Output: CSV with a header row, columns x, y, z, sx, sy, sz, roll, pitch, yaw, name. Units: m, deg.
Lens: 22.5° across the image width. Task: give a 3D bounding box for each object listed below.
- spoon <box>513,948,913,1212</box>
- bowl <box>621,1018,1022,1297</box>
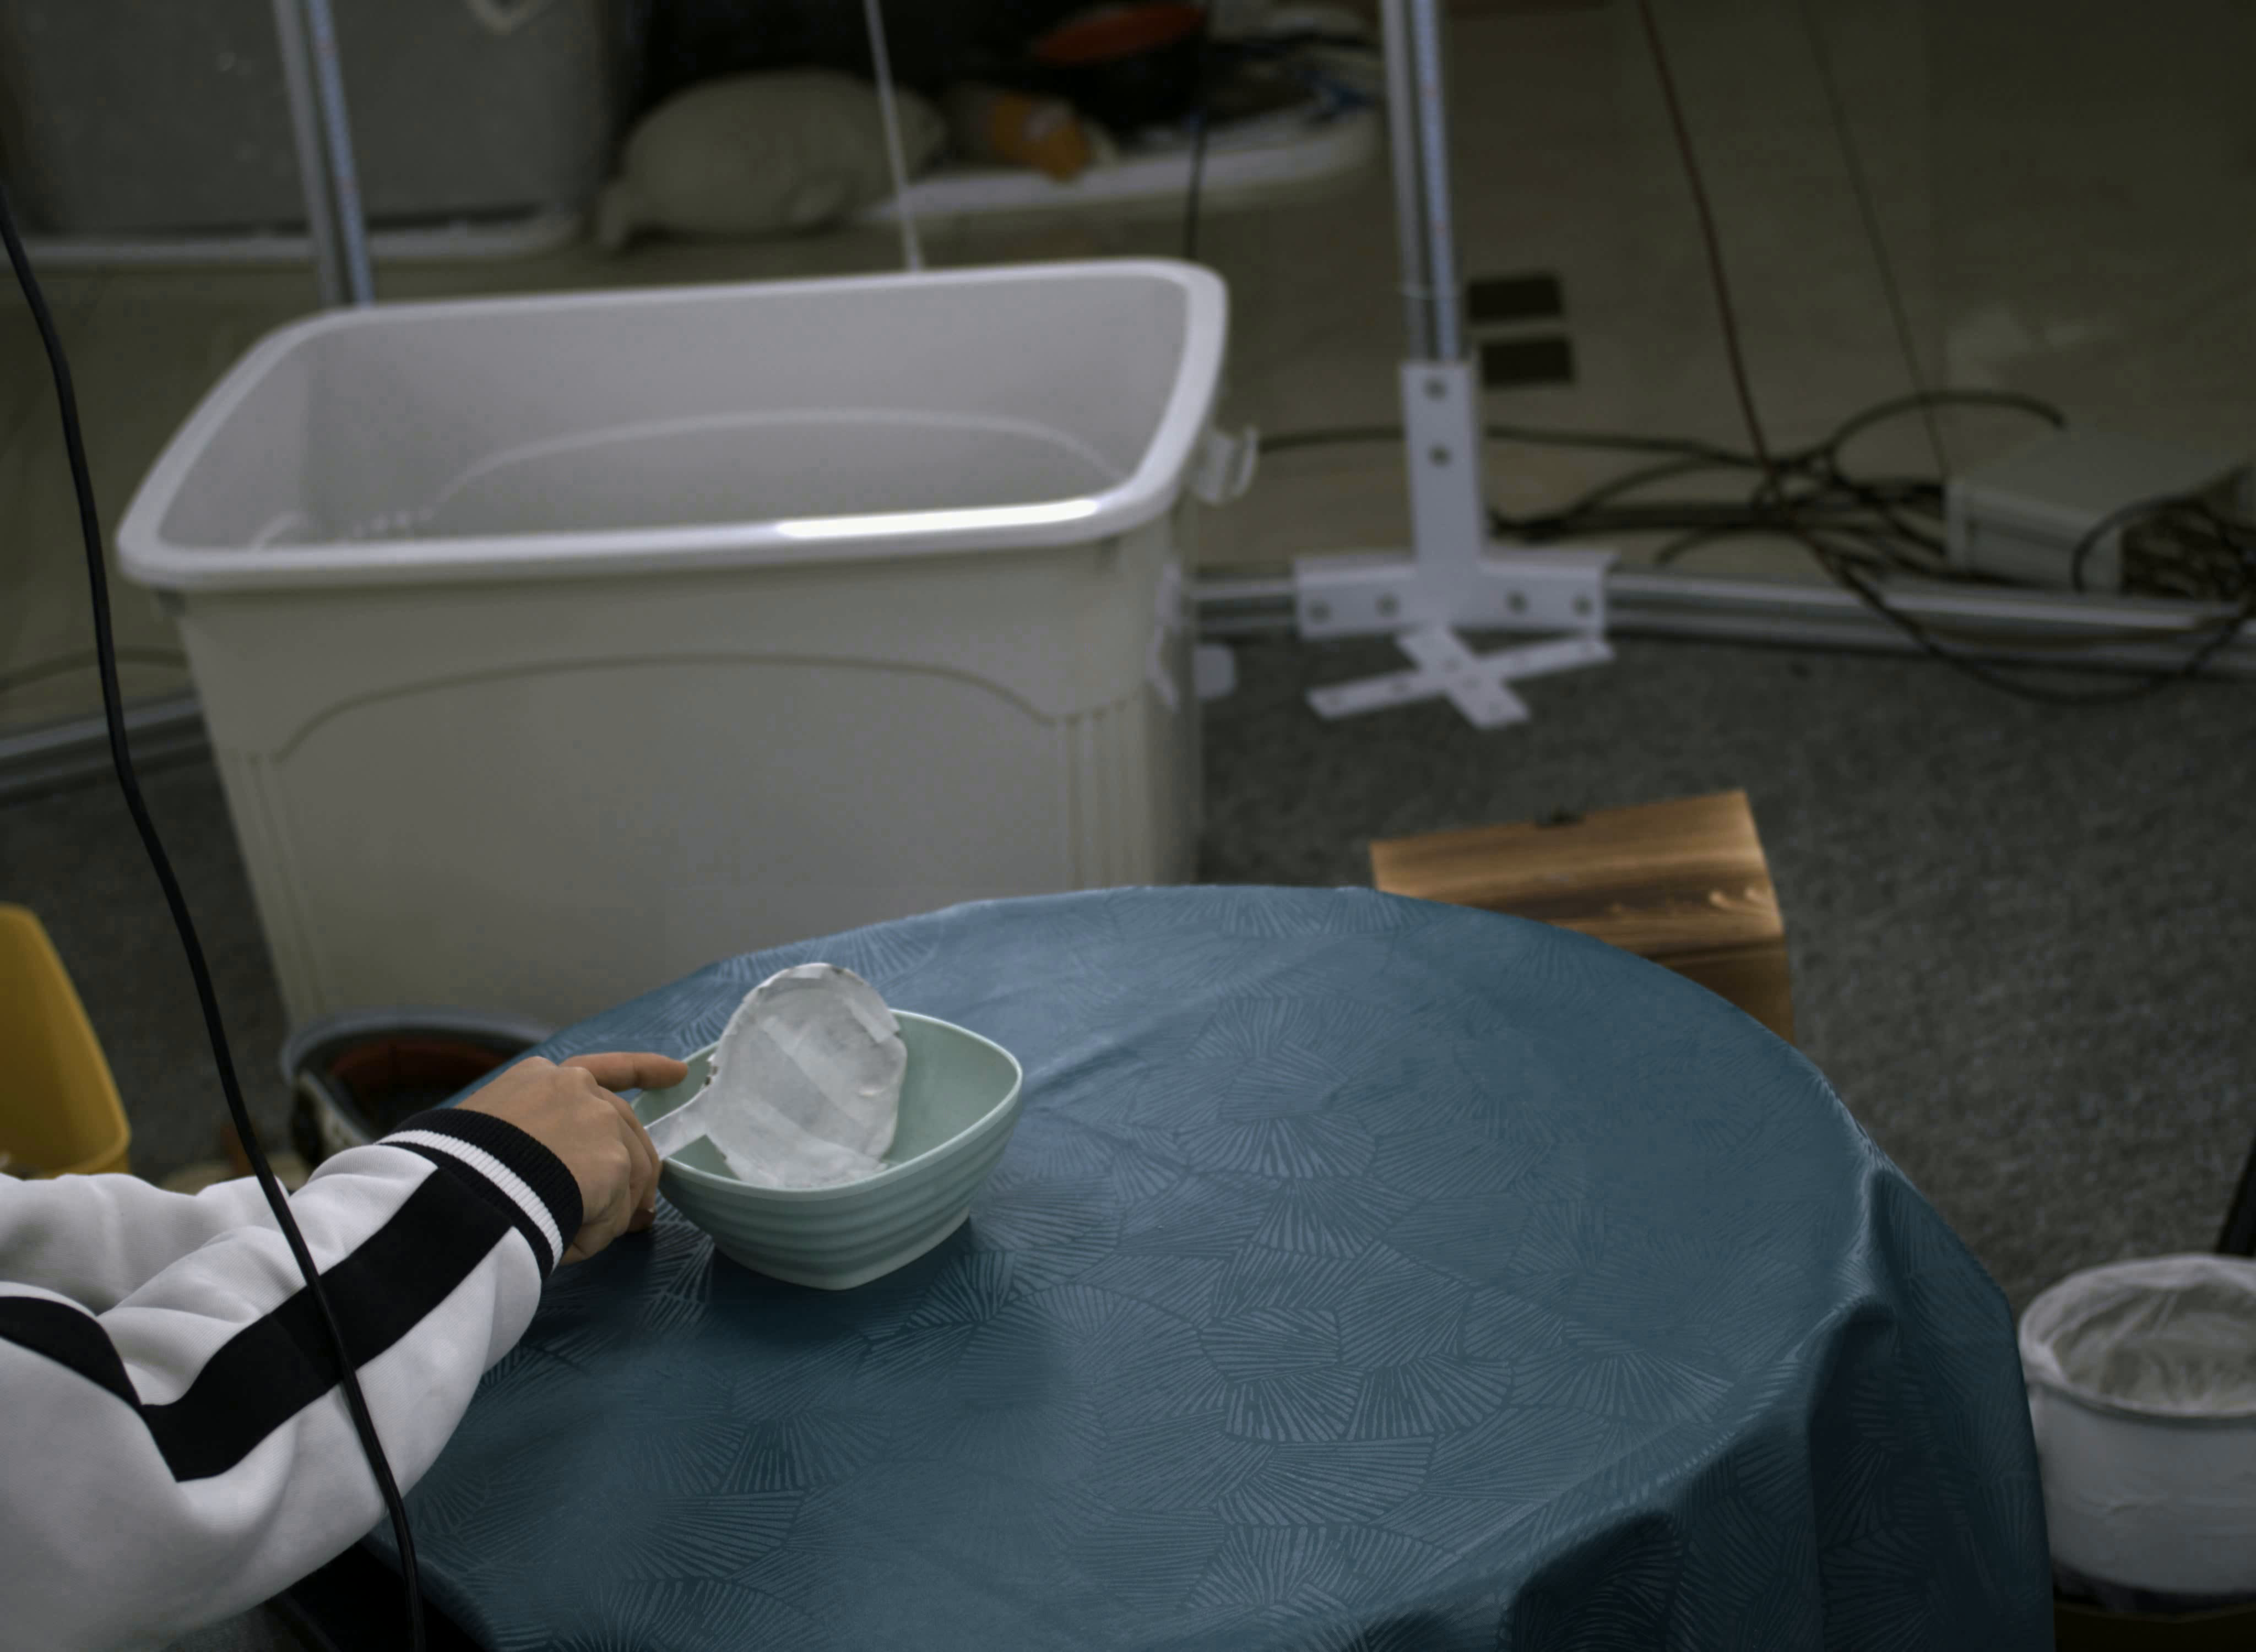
x,y,z,sx,sy,sz,roll,pitch,yaw,name
-0.146,0.104,2.042,0.059,0.101,0.276,-5,4,15,spoon
-0.112,0.129,2.134,0.151,0.059,0.149,-5,25,2,bowl
